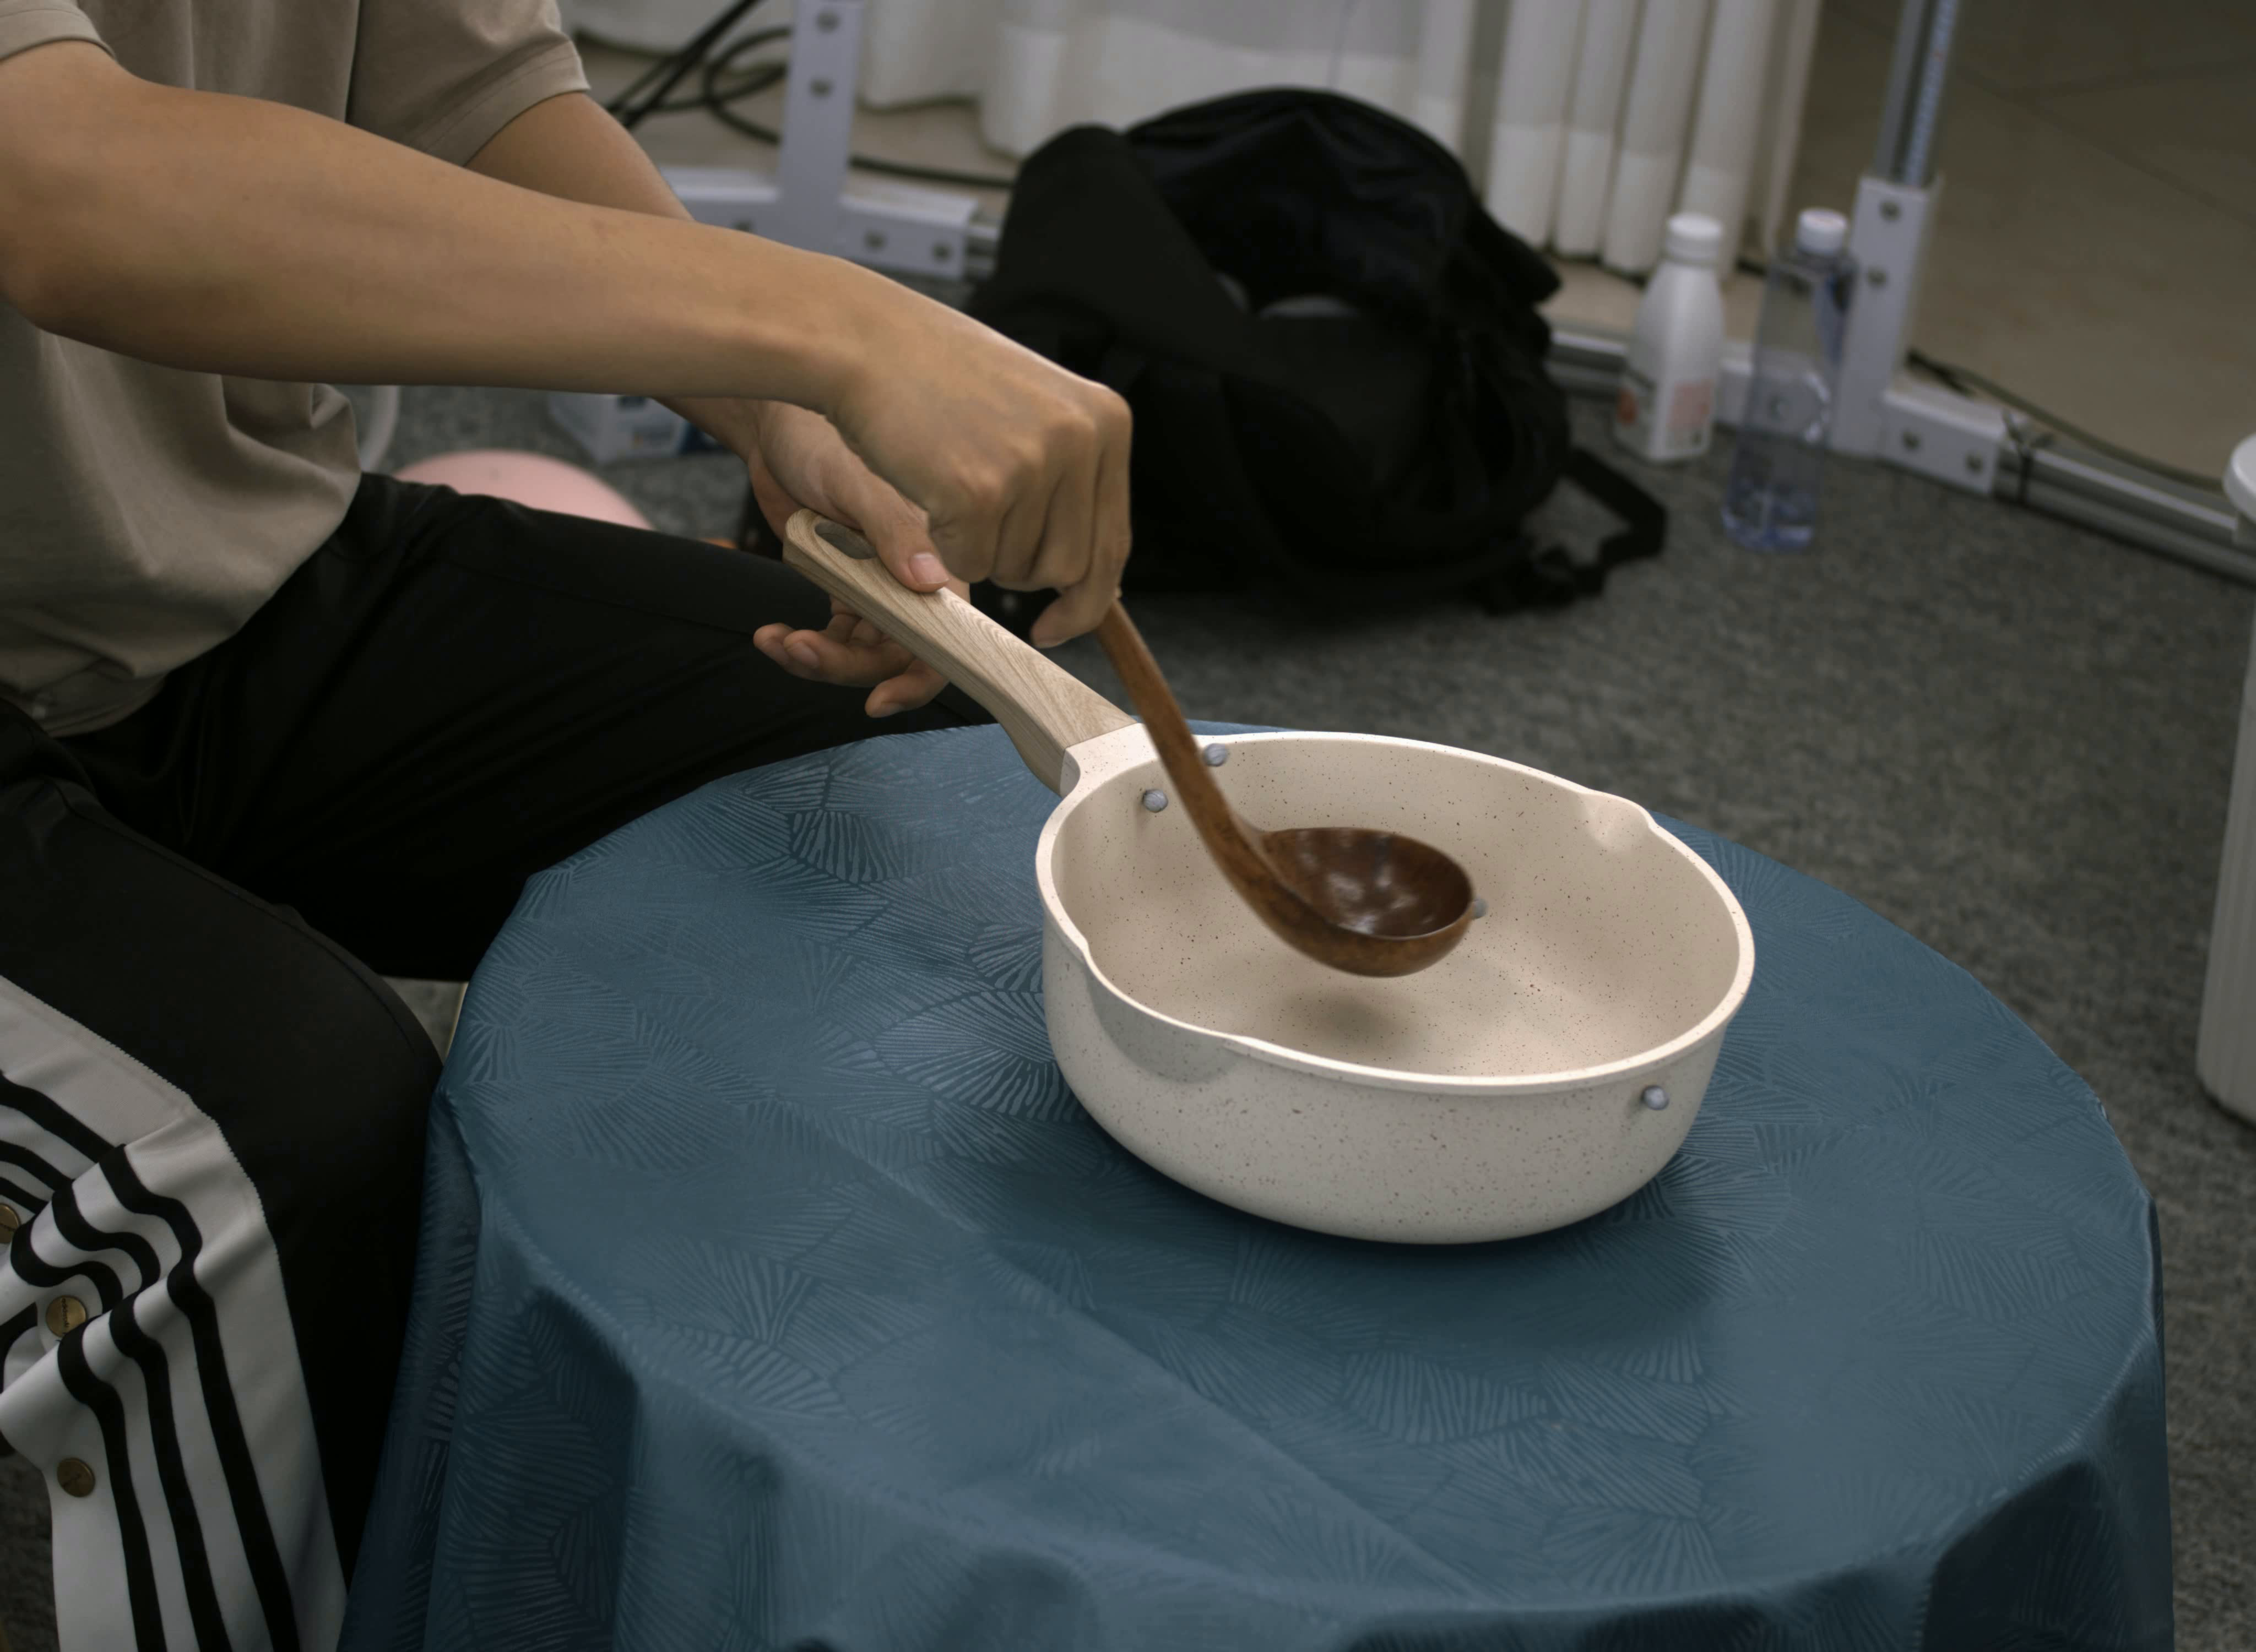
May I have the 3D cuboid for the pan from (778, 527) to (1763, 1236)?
[{"bbox_3d":[0.027,0.015,1.914,0.438,0.101,0.262,29,36,36],"label":"pan"}]

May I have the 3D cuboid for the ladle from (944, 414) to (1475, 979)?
[{"bbox_3d":[0.034,-0.050,1.839,0.076,0.272,0.082,-32,31,0],"label":"ladle"}]
